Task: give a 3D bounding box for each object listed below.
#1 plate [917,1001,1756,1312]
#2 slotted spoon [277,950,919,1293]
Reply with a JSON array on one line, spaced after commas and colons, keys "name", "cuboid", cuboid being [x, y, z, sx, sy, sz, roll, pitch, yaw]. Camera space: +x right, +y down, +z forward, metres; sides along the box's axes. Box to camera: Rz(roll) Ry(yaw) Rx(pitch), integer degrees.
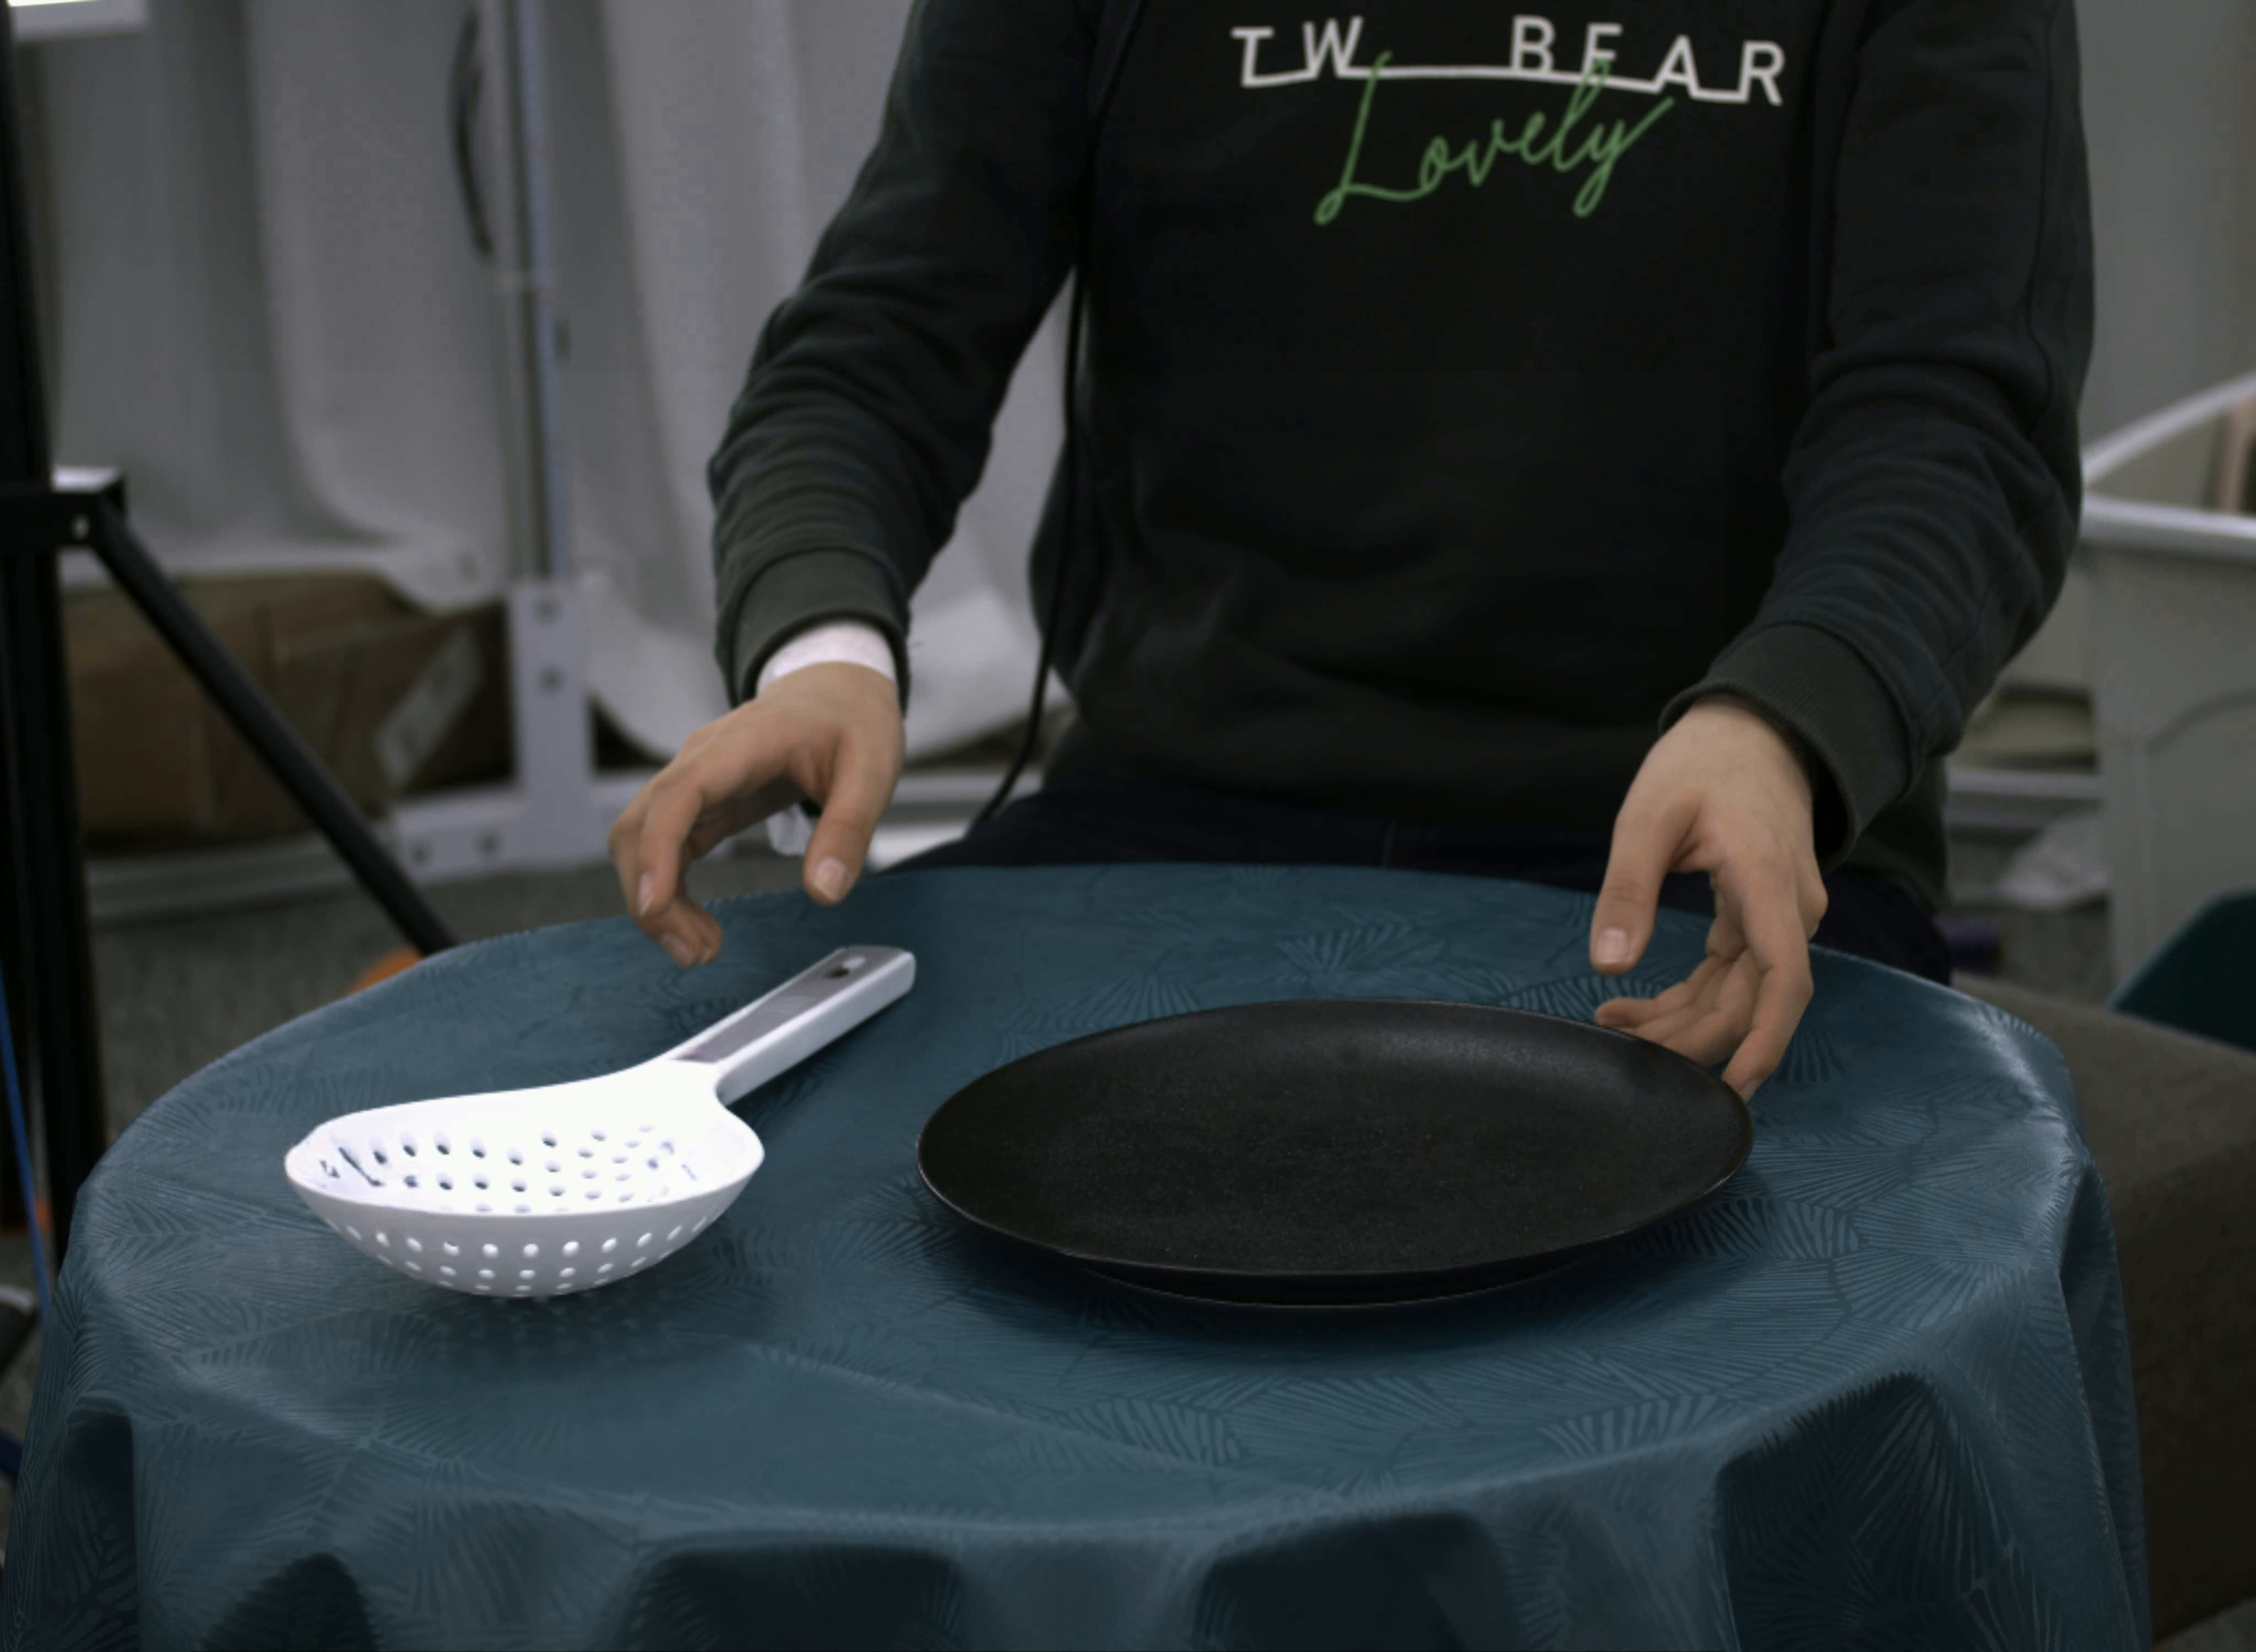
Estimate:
[{"name": "plate", "cuboid": [0.061, 0.098, 1.540, 0.243, 0.023, 0.245, -3, 16, -1]}, {"name": "slotted spoon", "cuboid": [-0.136, 0.079, 1.599, 0.137, 0.046, 0.346, 5, 16, 18]}]
